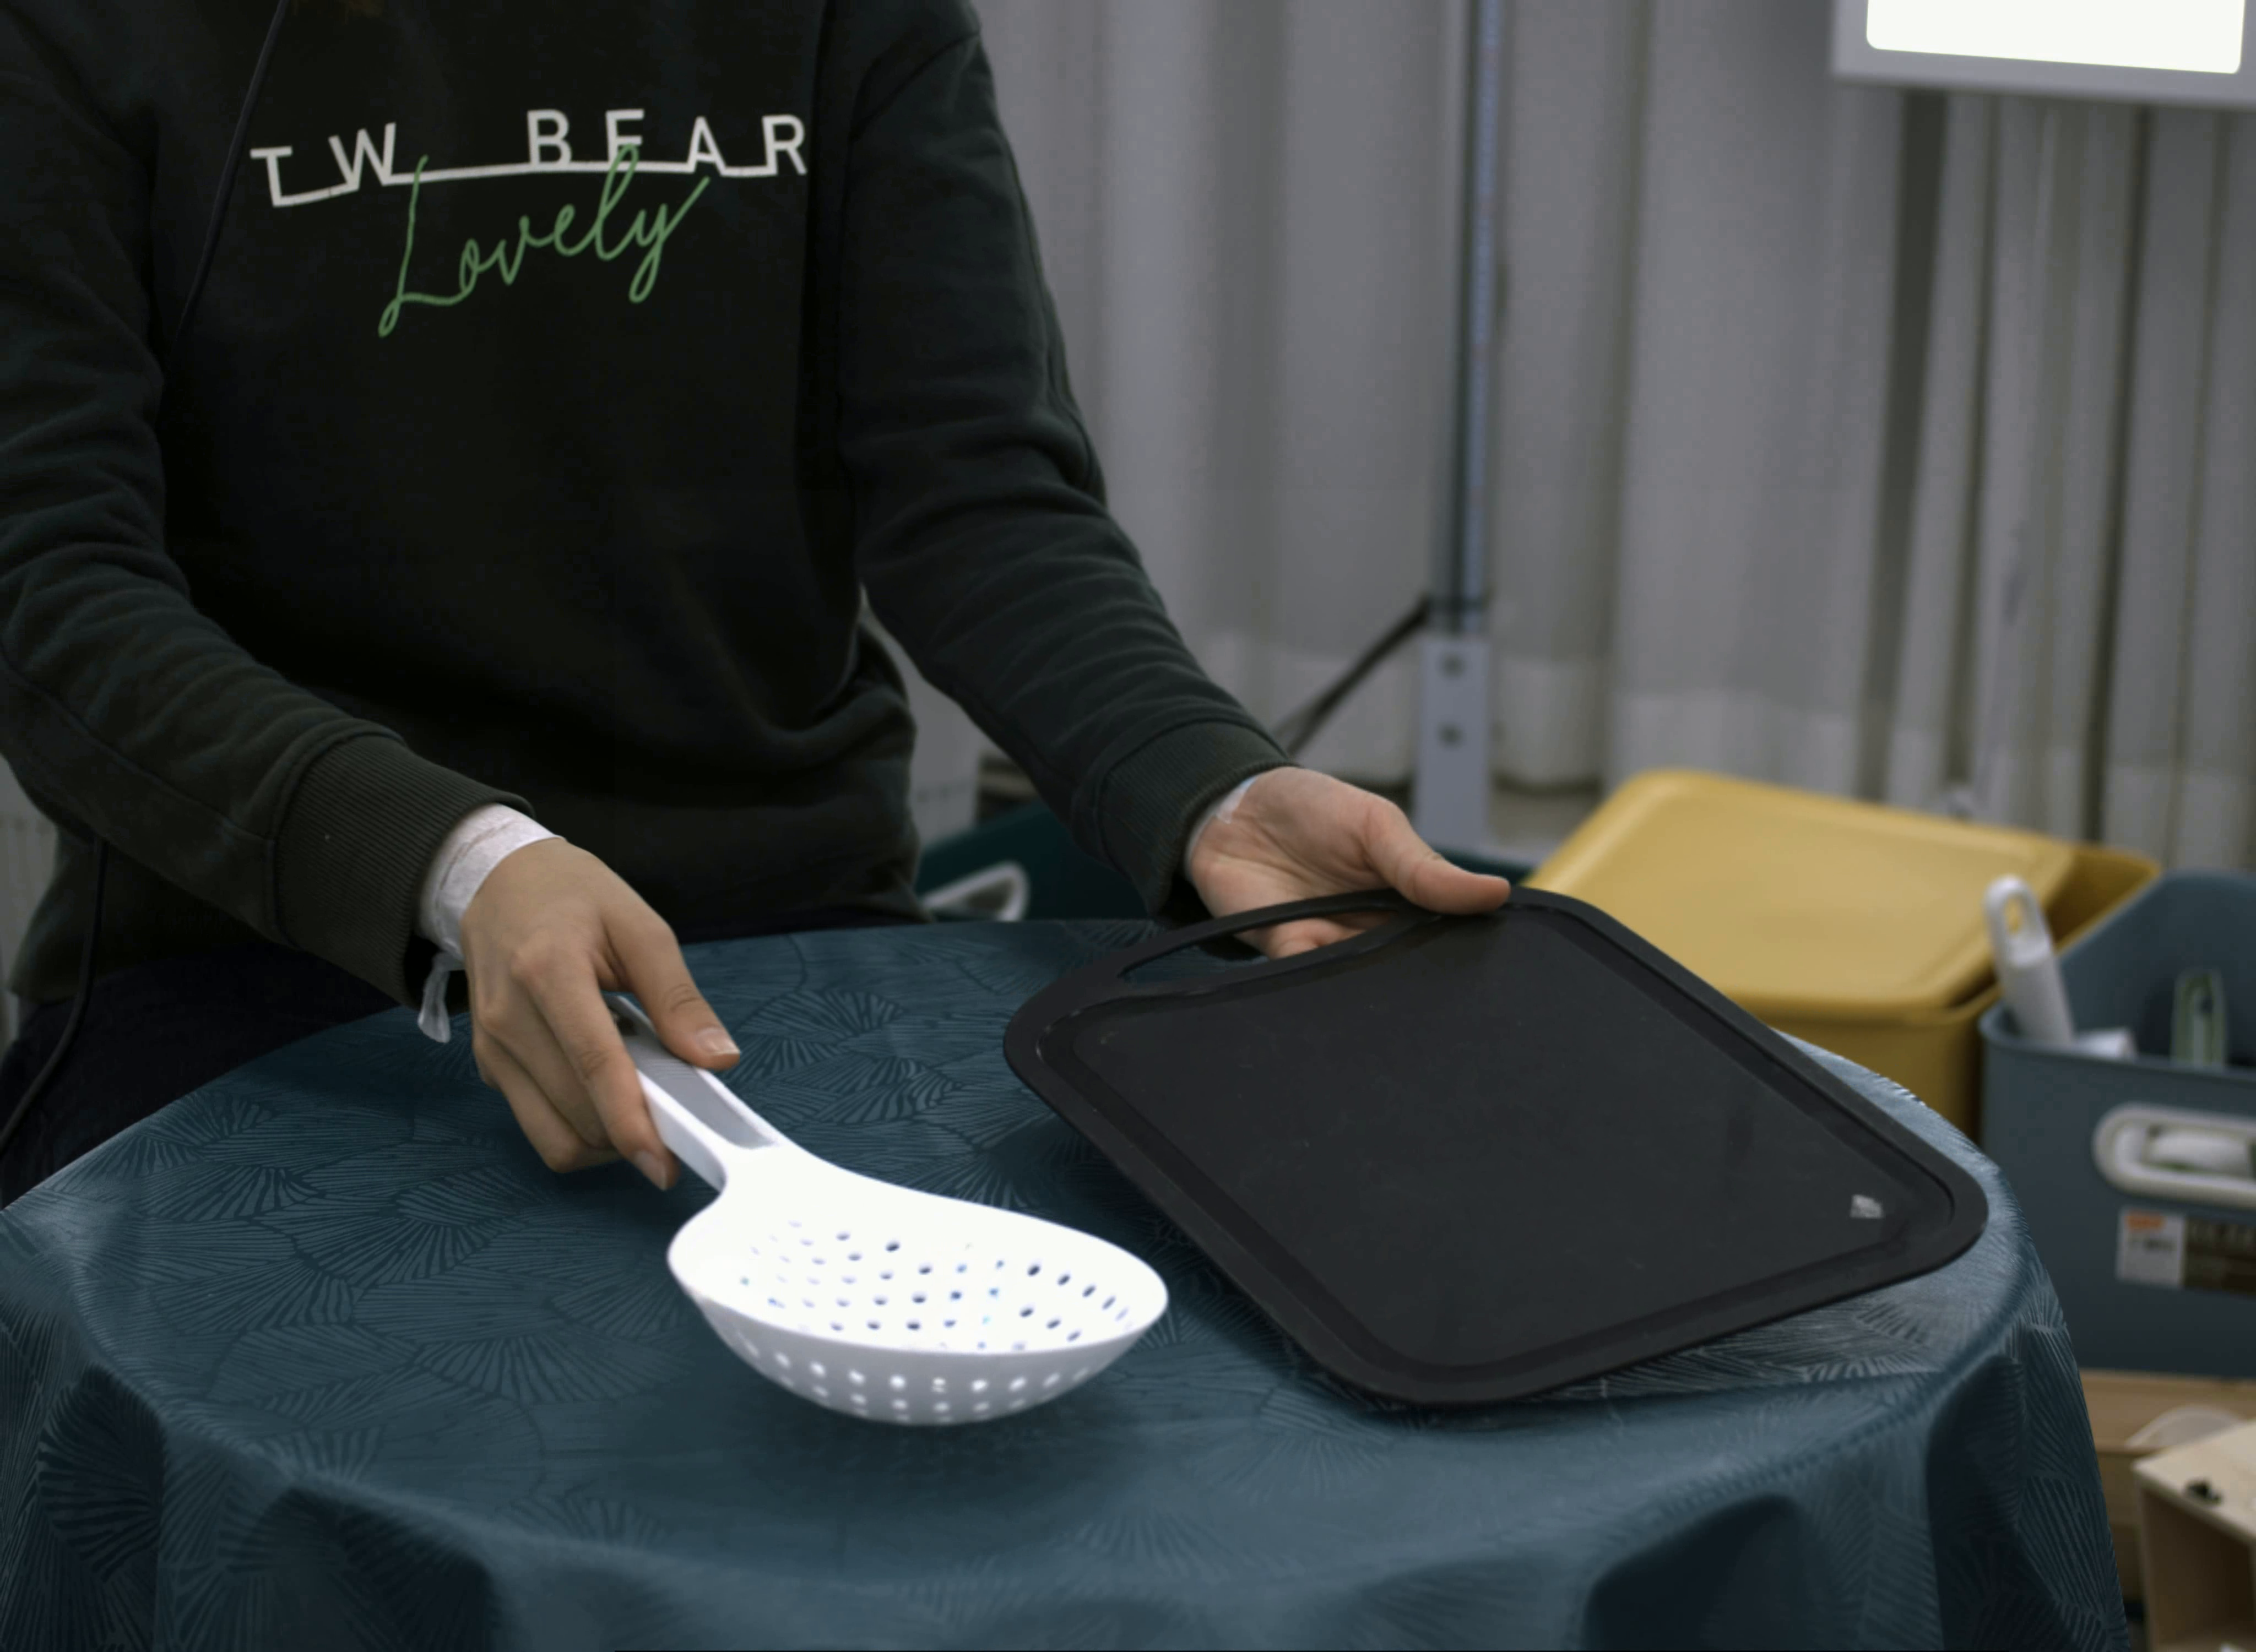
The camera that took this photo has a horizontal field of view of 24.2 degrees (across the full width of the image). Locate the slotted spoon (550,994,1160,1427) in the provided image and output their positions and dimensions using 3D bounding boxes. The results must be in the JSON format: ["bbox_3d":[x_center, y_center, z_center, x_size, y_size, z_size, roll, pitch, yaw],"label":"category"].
[{"bbox_3d":[-0.103,0.102,1.523,0.137,0.046,0.345,1,18,-26],"label":"slotted spoon"}]

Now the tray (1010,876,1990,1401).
[{"bbox_3d":[0.101,0.084,1.593,0.211,0.010,0.321,-14,26,-21],"label":"tray"}]
